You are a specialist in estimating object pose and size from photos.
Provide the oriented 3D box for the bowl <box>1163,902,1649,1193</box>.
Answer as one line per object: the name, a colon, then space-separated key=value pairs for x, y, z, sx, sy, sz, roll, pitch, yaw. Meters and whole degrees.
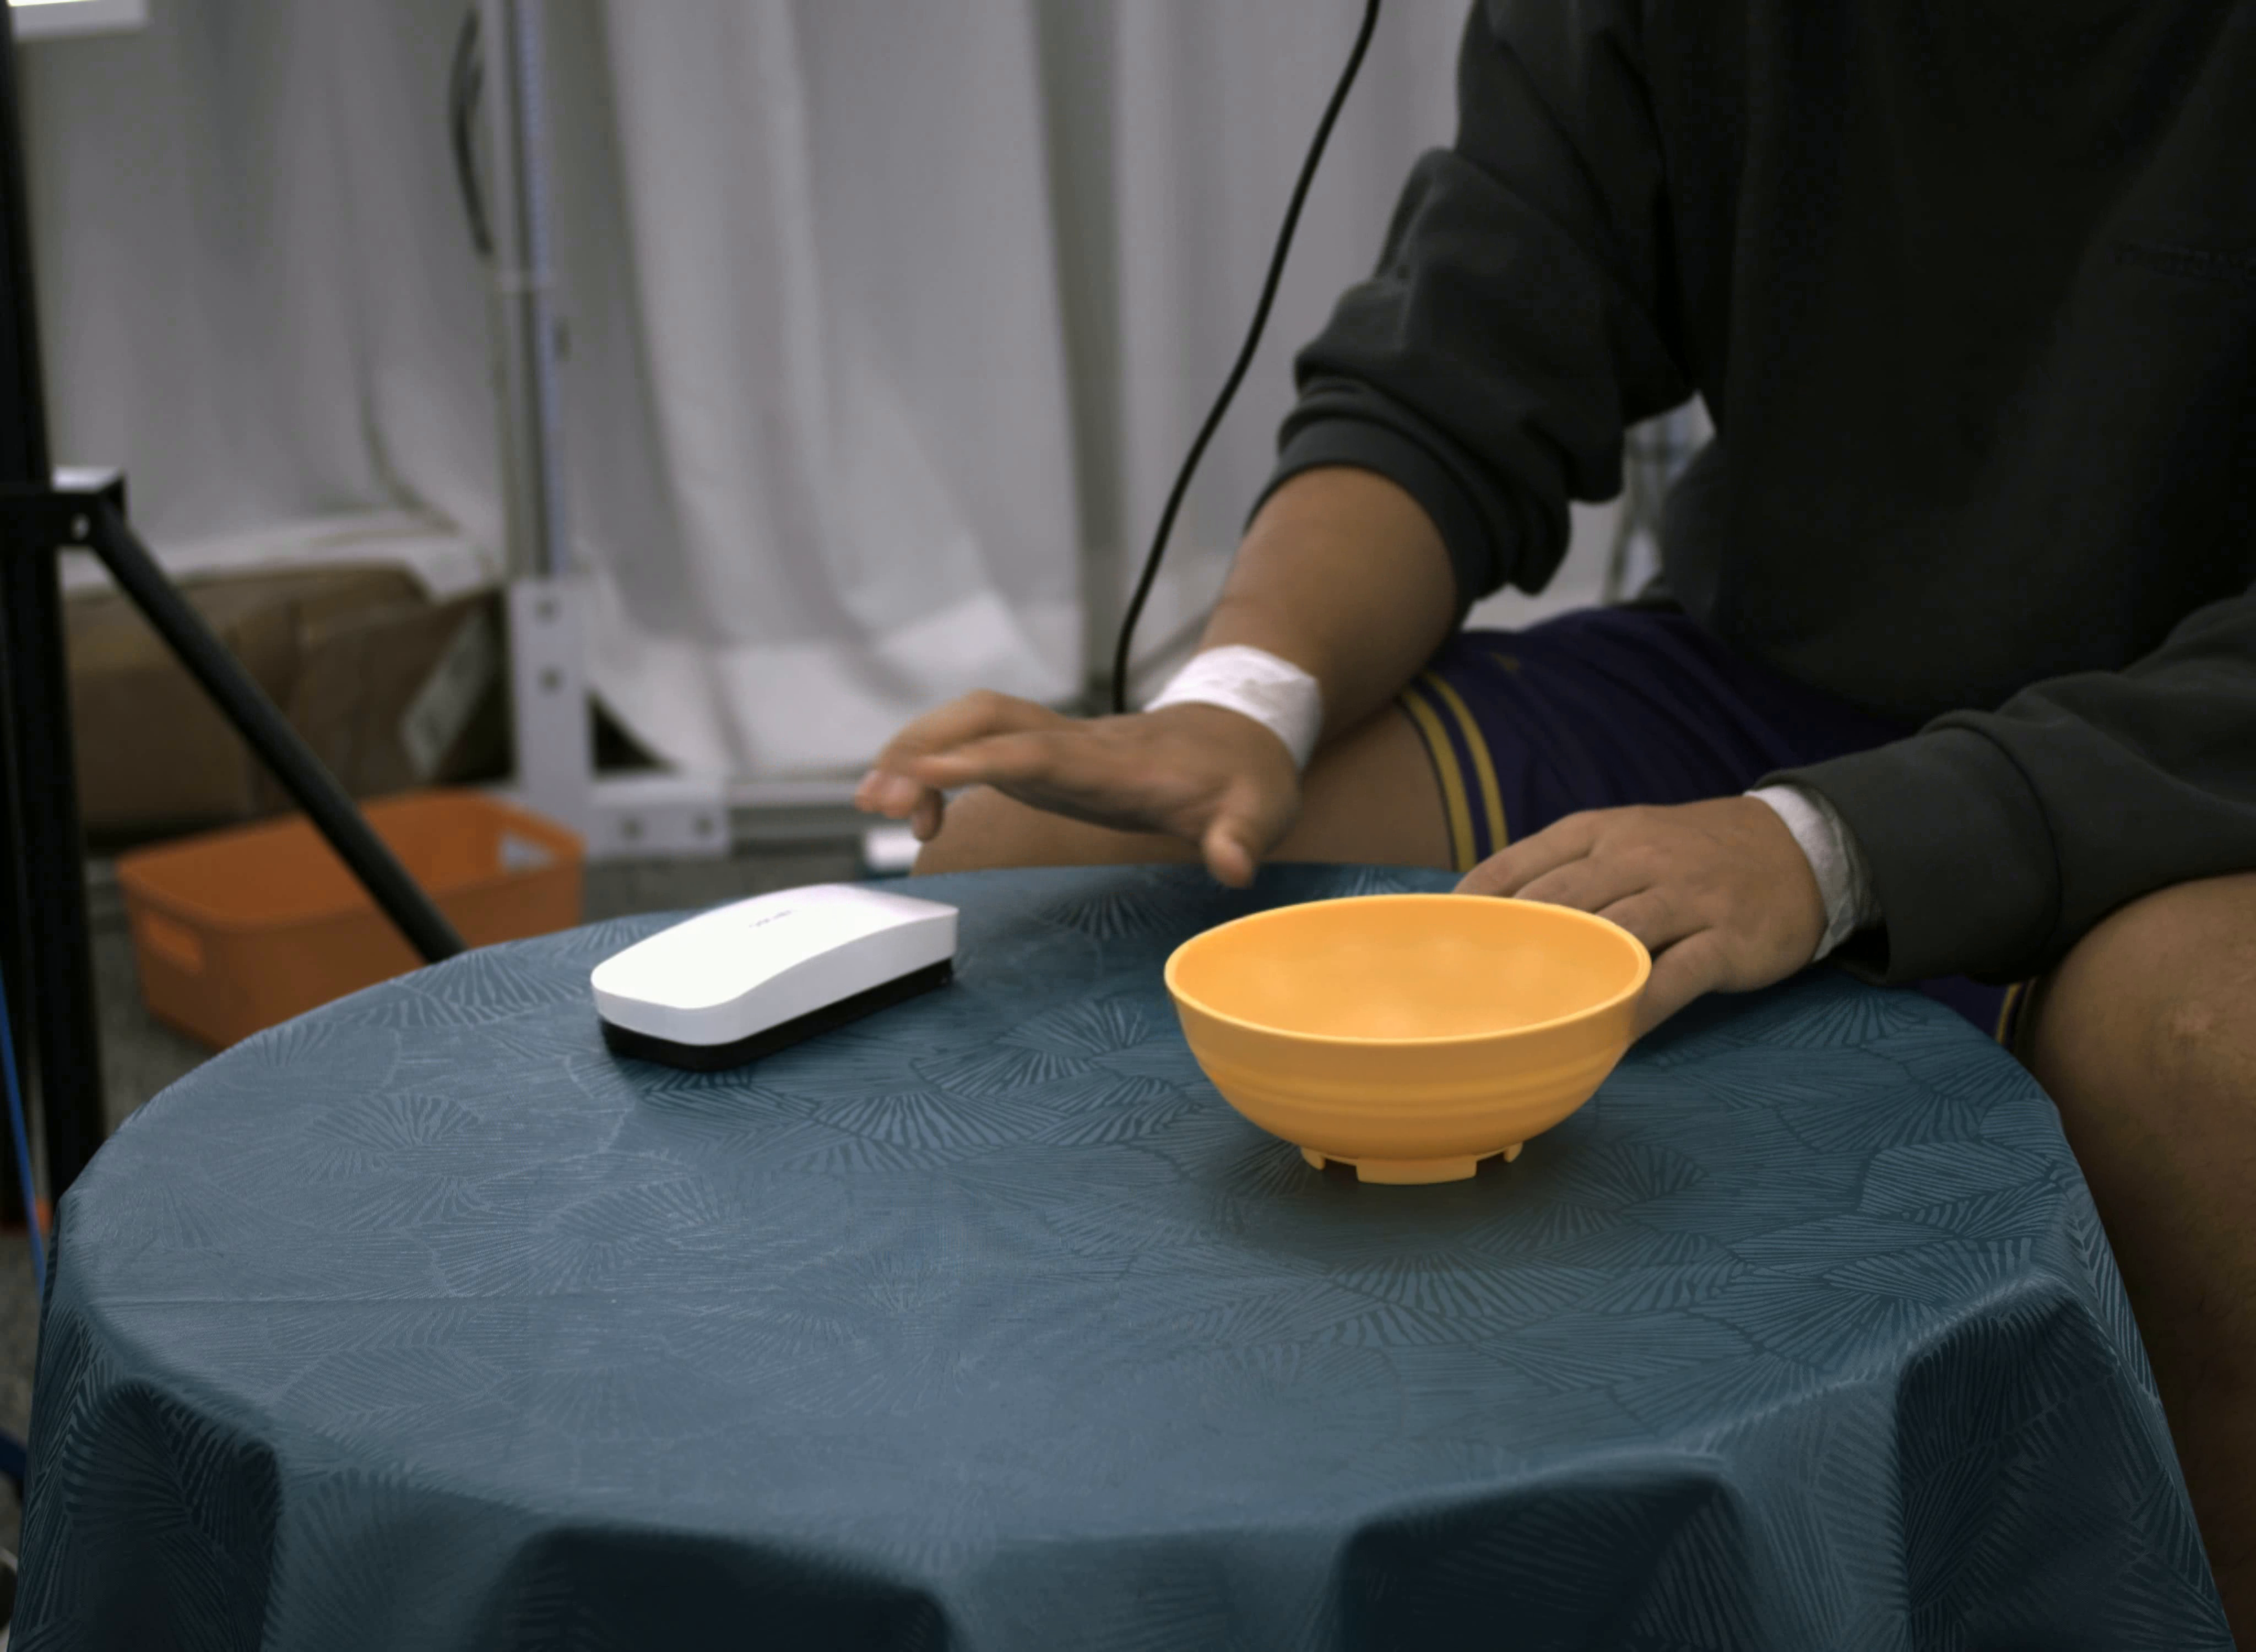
bowl: x=0.082 y=0.071 z=1.579 sx=0.144 sy=0.060 sz=0.146 roll=-1 pitch=15 yaw=-1

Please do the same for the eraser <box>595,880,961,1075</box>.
eraser: x=-0.112 y=0.046 z=1.740 sx=0.065 sy=0.034 sz=0.128 roll=11 pitch=22 yaw=39
